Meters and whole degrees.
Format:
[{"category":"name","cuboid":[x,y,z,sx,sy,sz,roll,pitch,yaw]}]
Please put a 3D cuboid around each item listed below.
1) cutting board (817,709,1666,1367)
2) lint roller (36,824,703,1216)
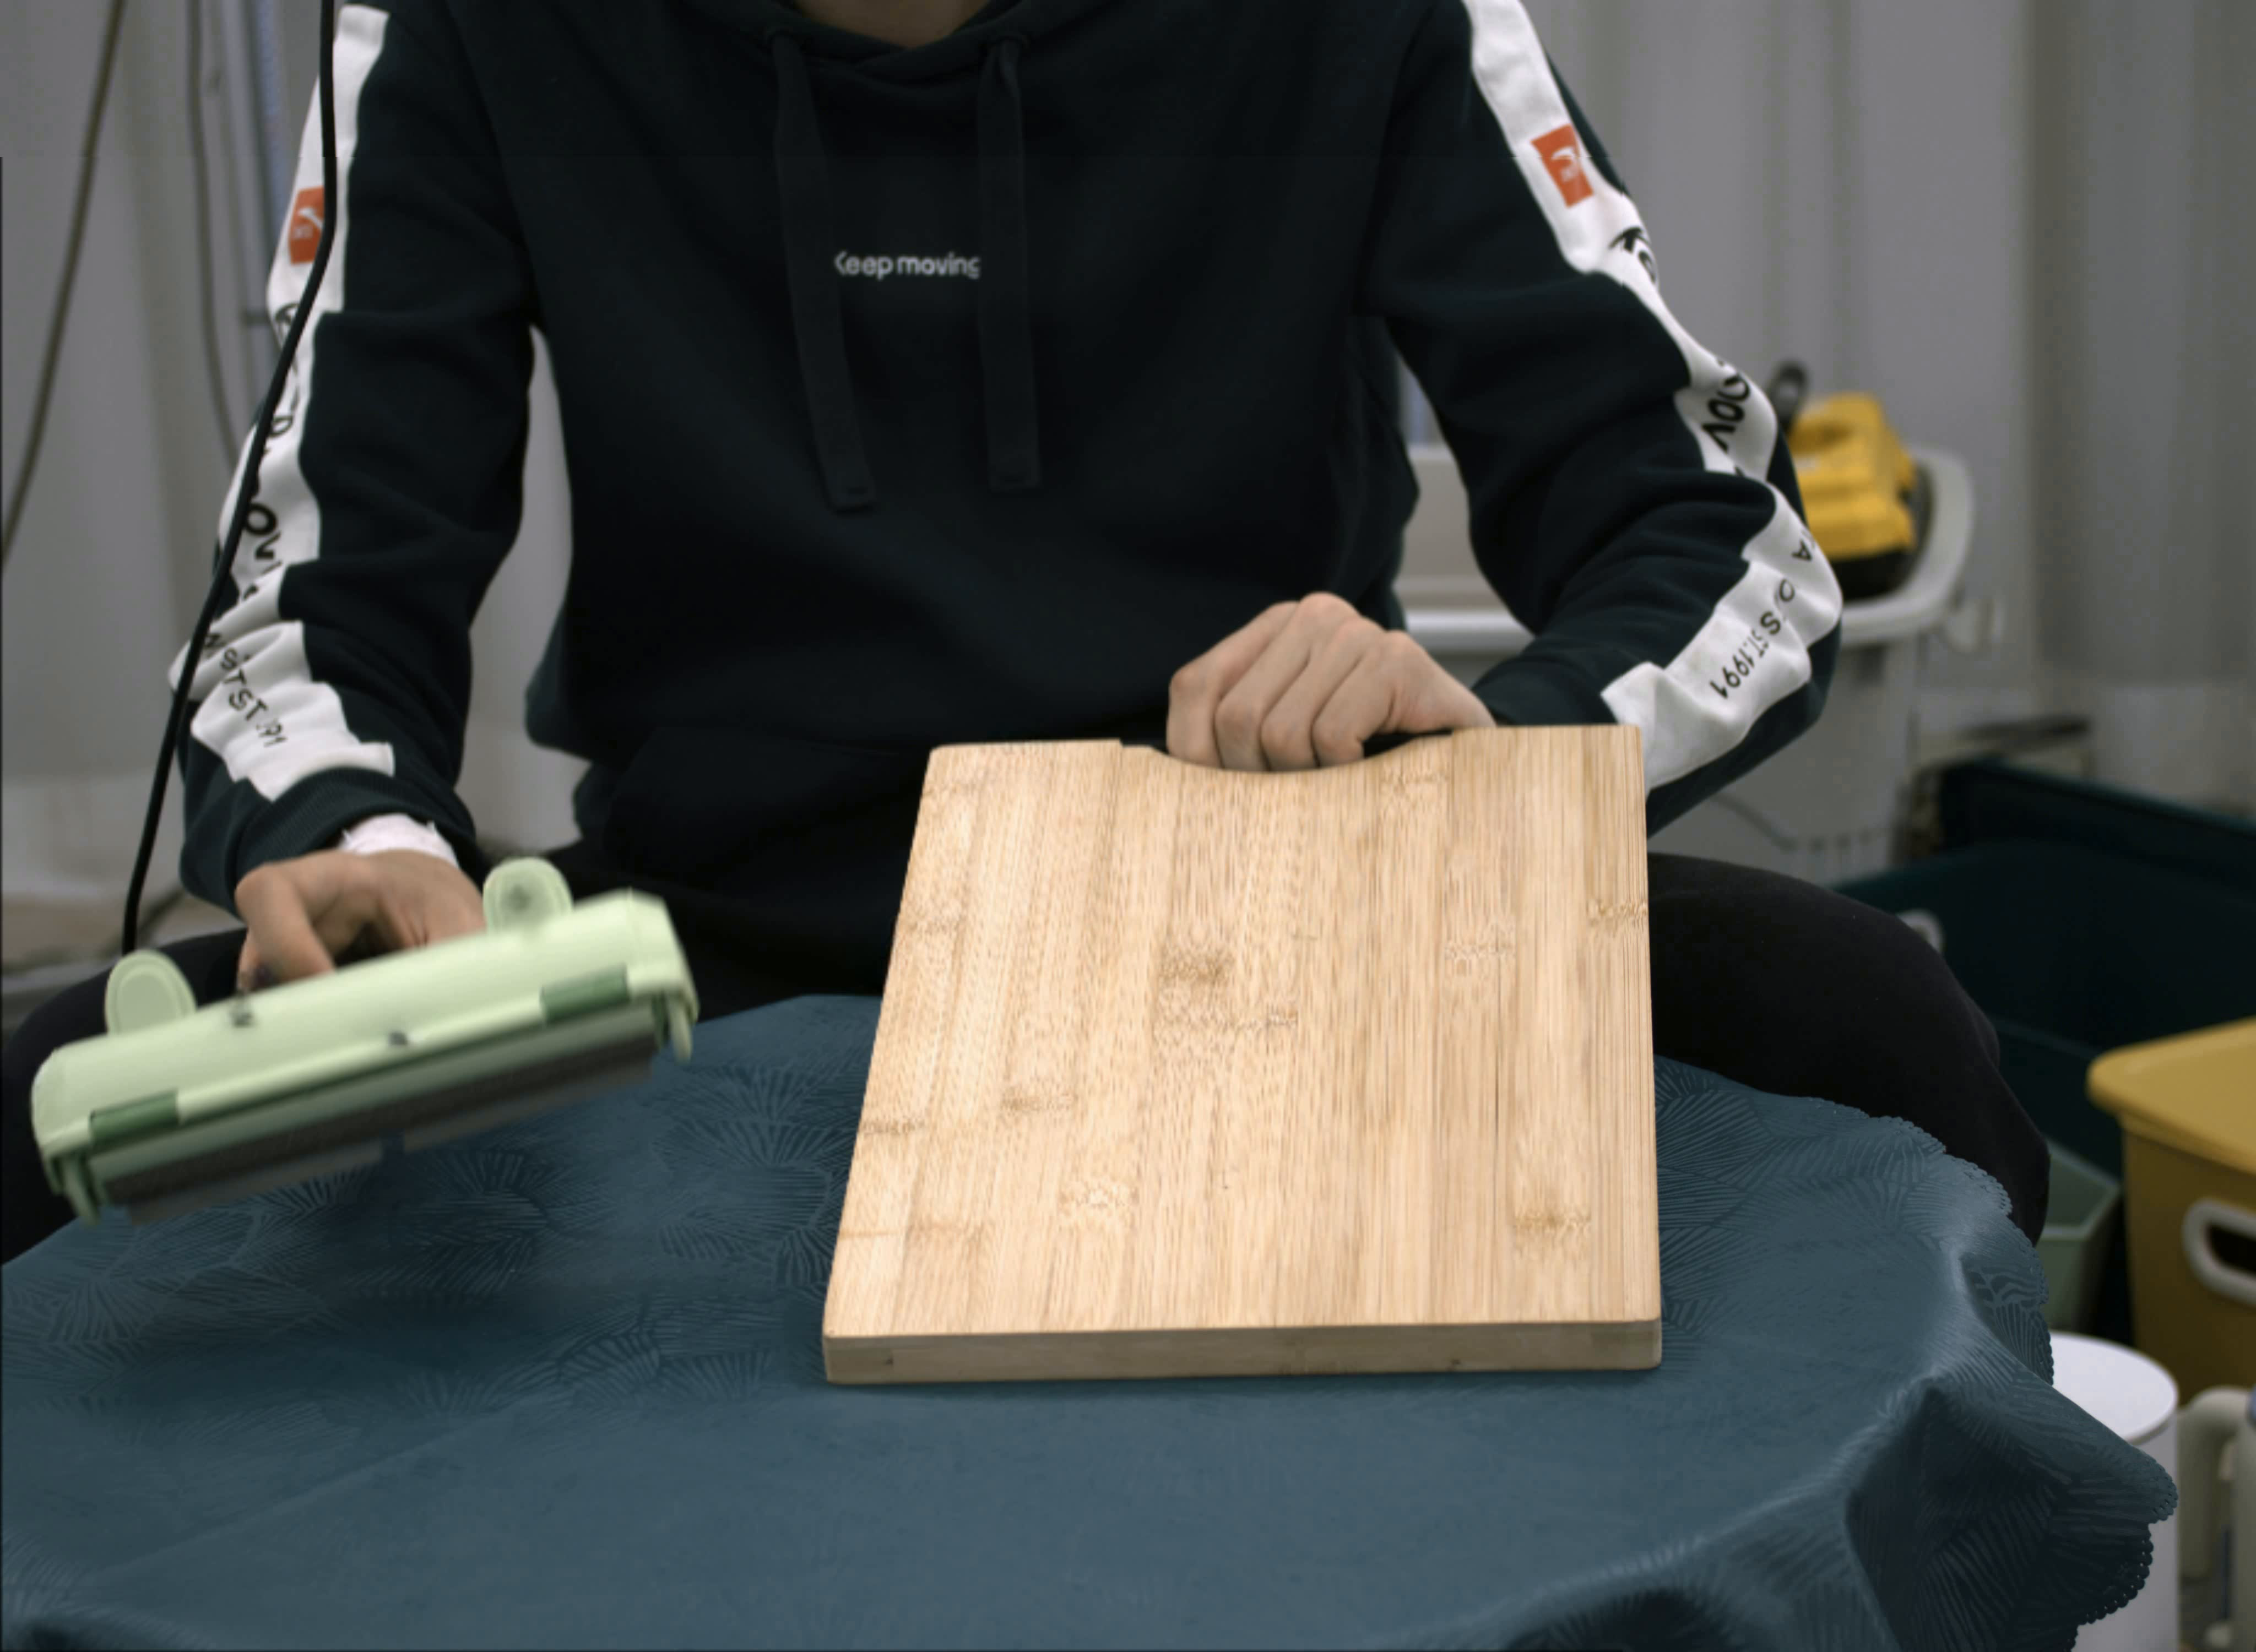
[{"category":"cutting board","cuboid":[0.044,0.061,1.699,0.250,0.023,0.353,-2,31,5]},{"category":"lint roller","cuboid":[-0.236,0.044,1.682,0.198,0.082,0.185,-17,16,-6]}]
